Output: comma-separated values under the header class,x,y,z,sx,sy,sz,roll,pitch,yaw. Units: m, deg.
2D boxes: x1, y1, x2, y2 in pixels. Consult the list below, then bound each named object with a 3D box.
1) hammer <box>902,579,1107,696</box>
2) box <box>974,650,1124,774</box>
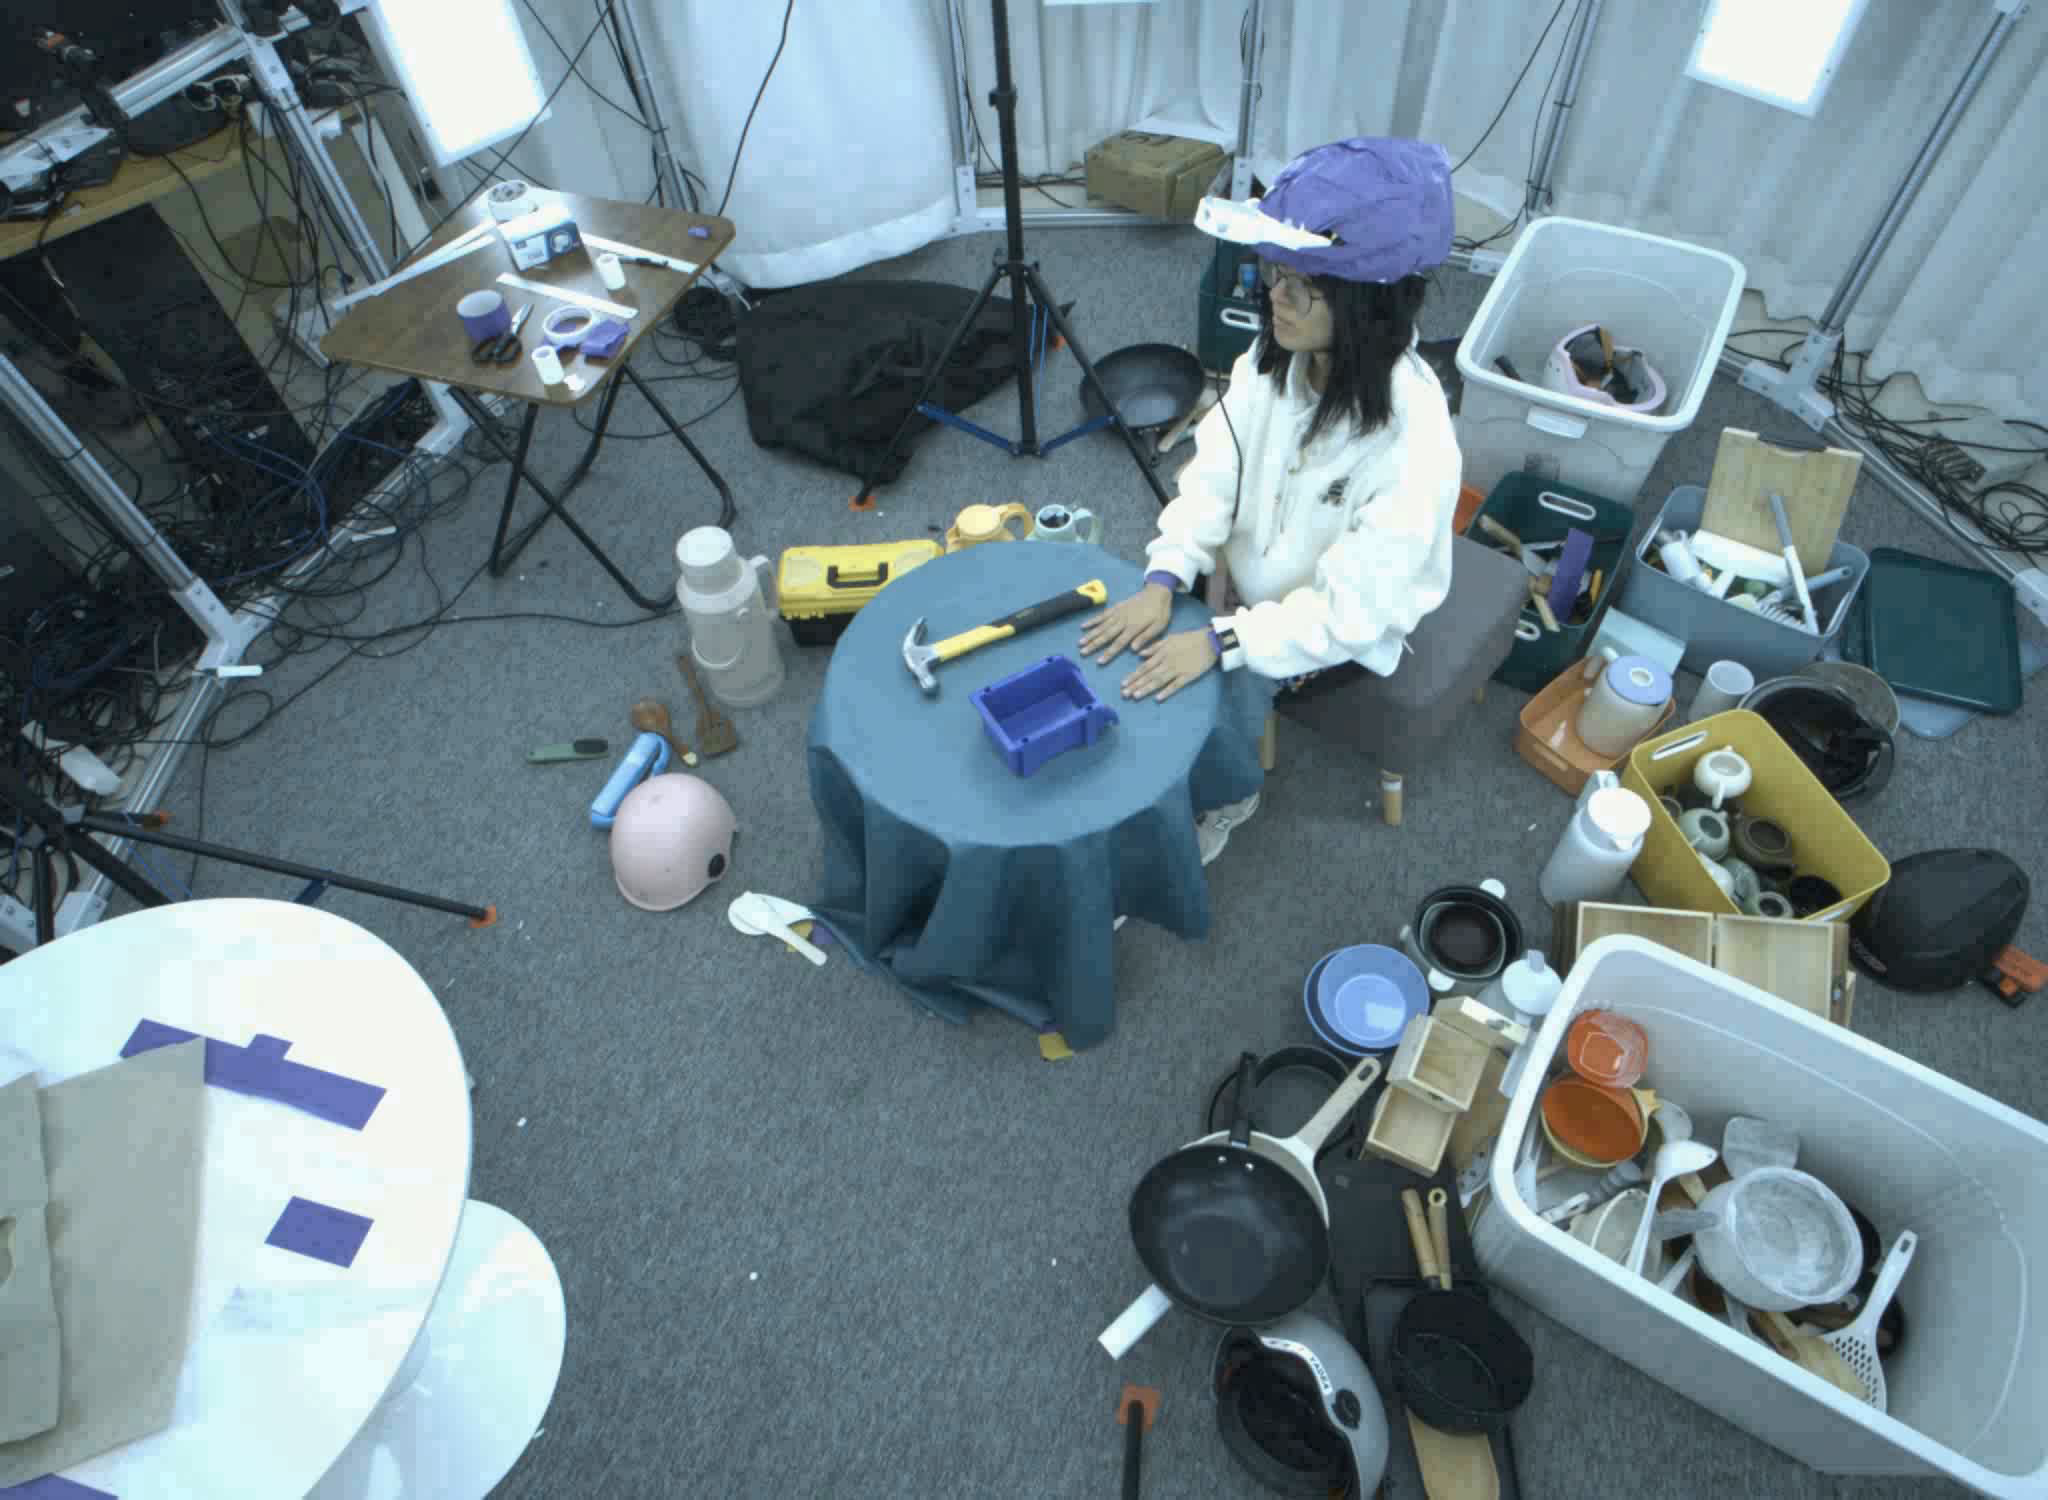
class,x,y,z,sx,sy,sz,roll,pitch,yaw
hammer,-0.028,-0.194,1.905,0.341,0.032,0.129,-22,55,-13
box,0.037,-0.059,1.779,0.180,0.083,0.122,-27,58,-14
